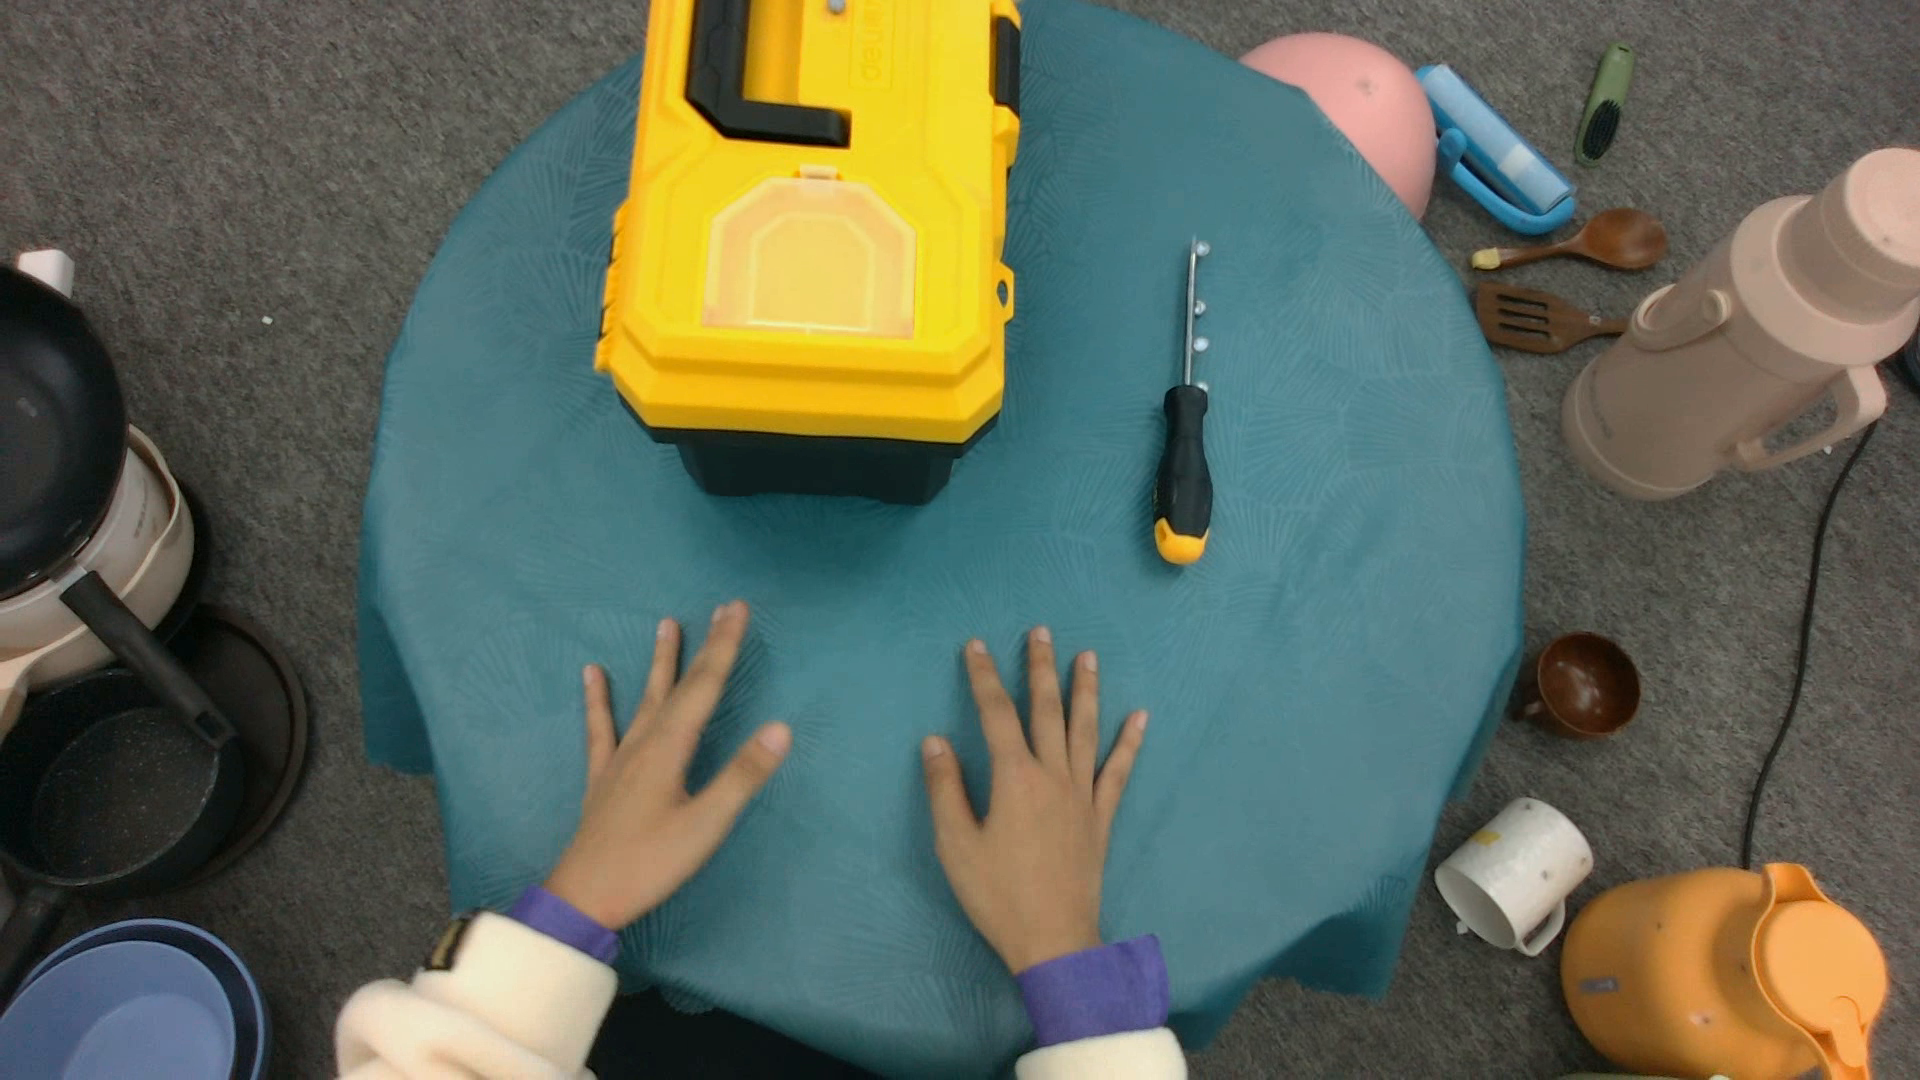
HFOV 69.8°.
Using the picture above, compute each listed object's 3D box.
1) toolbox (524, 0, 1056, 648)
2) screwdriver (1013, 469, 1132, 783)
[{"bbox_3d":[-0.076,-0.130,0.692,0.181,0.172,0.353,20,61,-7],"label":"toolbox"},{"bbox_3d":[0.066,0.042,0.744,0.031,0.031,0.199,24,56,-4],"label":"screwdriver"}]
